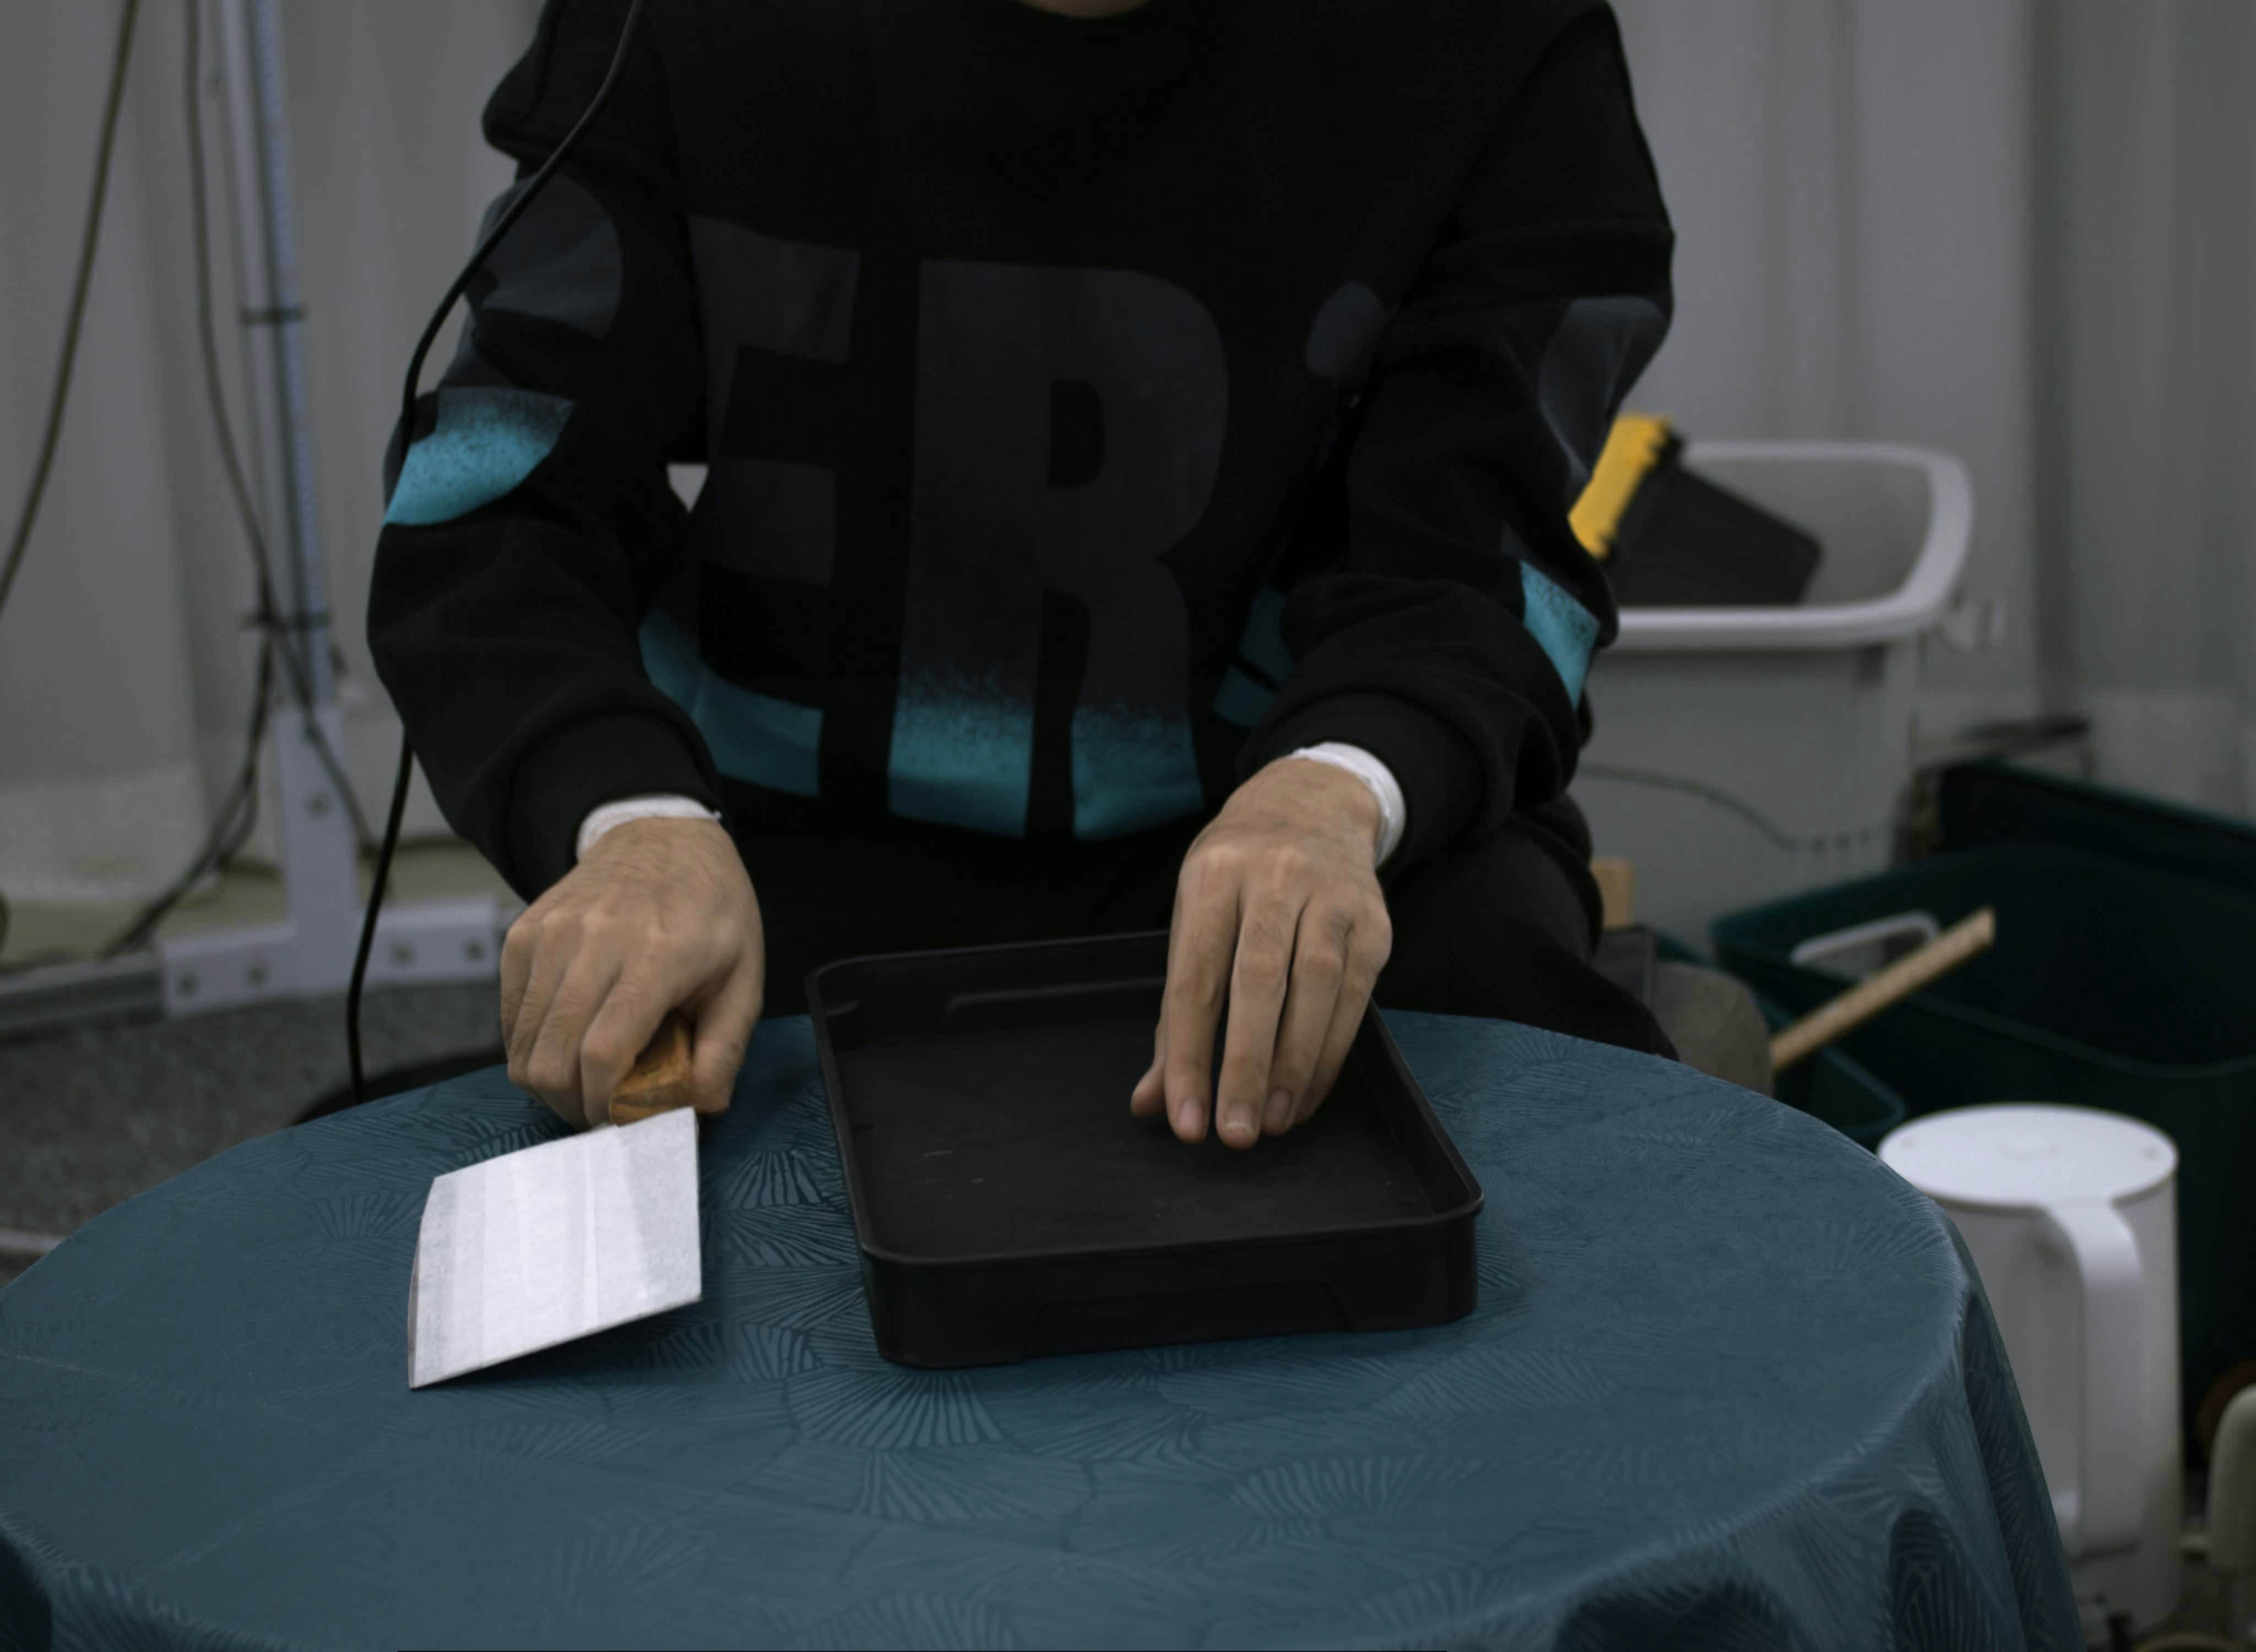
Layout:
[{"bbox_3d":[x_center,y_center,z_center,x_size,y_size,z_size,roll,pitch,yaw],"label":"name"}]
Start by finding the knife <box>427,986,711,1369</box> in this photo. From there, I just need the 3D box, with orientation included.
[{"bbox_3d":[-0.176,0.111,1.723,0.092,0.021,0.308,-17,15,0],"label":"knife"}]

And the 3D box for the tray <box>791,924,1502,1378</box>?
[{"bbox_3d":[-0.001,0.096,1.714,0.183,0.037,0.320,-5,15,-7],"label":"tray"}]
